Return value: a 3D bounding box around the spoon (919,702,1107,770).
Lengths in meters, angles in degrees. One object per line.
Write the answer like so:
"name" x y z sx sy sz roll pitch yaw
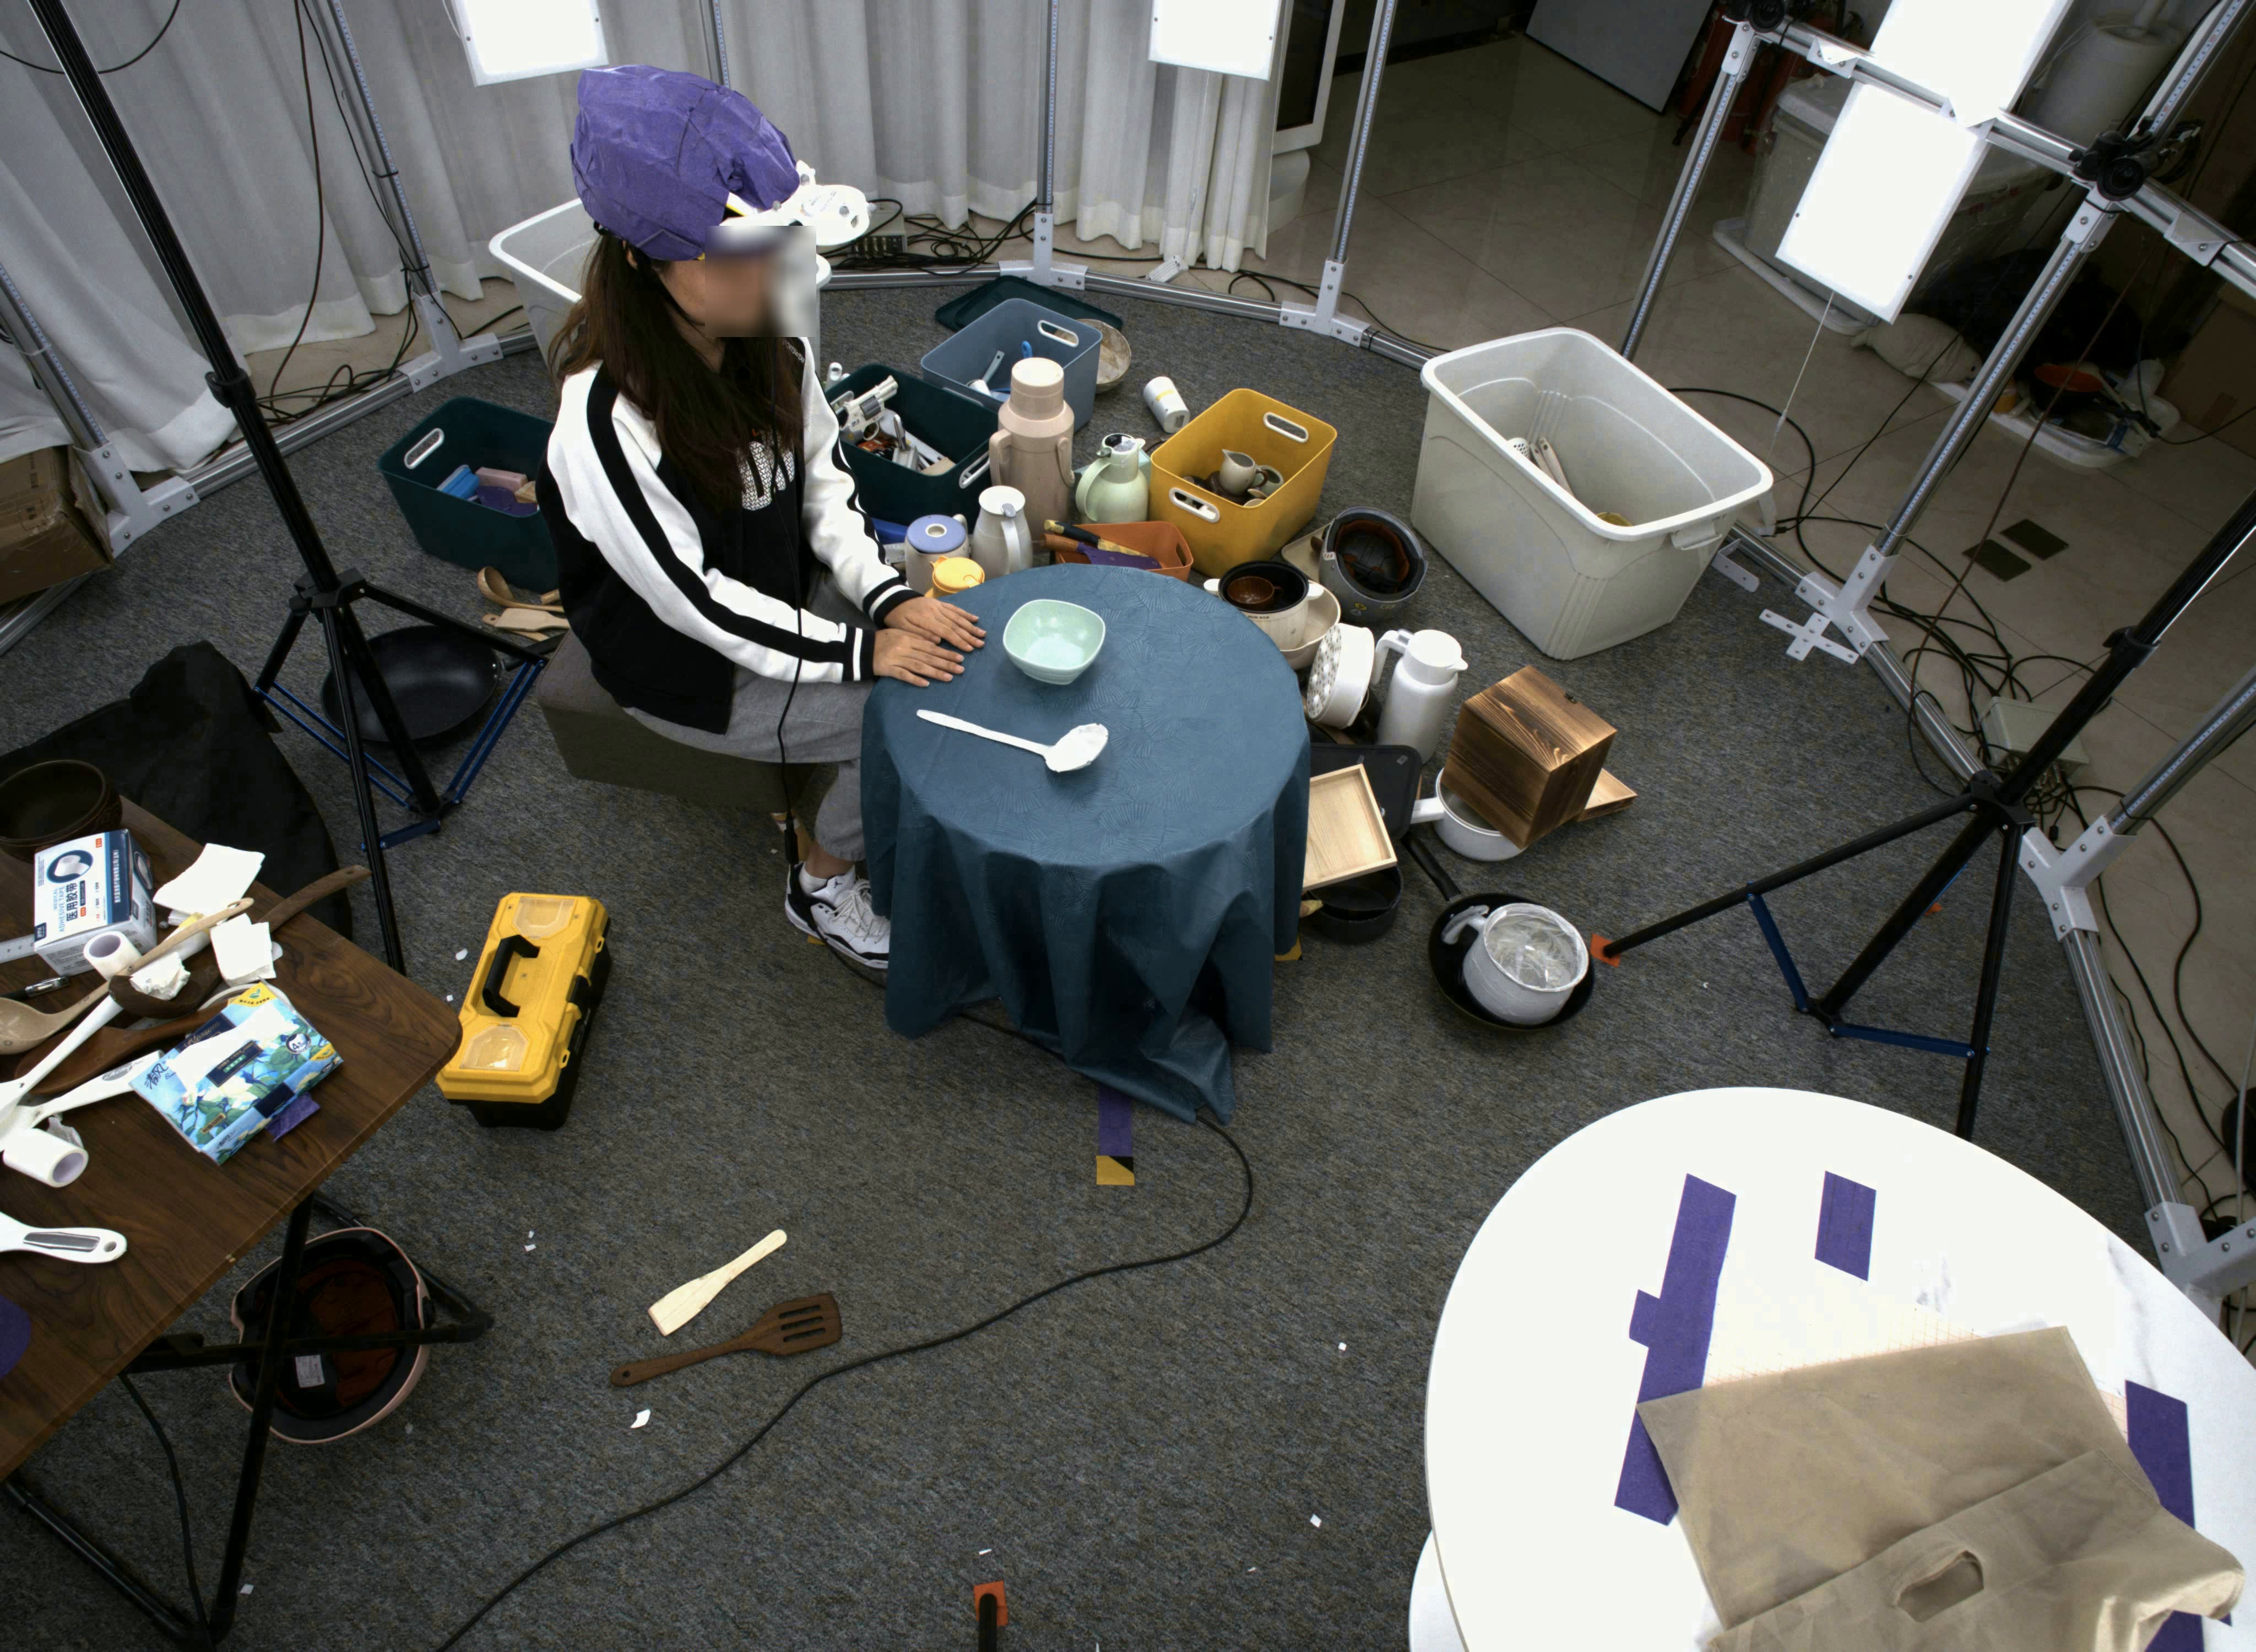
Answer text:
"spoon" -0.159 -0.142 1.746 0.279 0.058 0.102 21 46 14

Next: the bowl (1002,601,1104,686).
"bowl" -0.107 -0.254 1.850 0.151 0.057 0.155 2 49 -3
